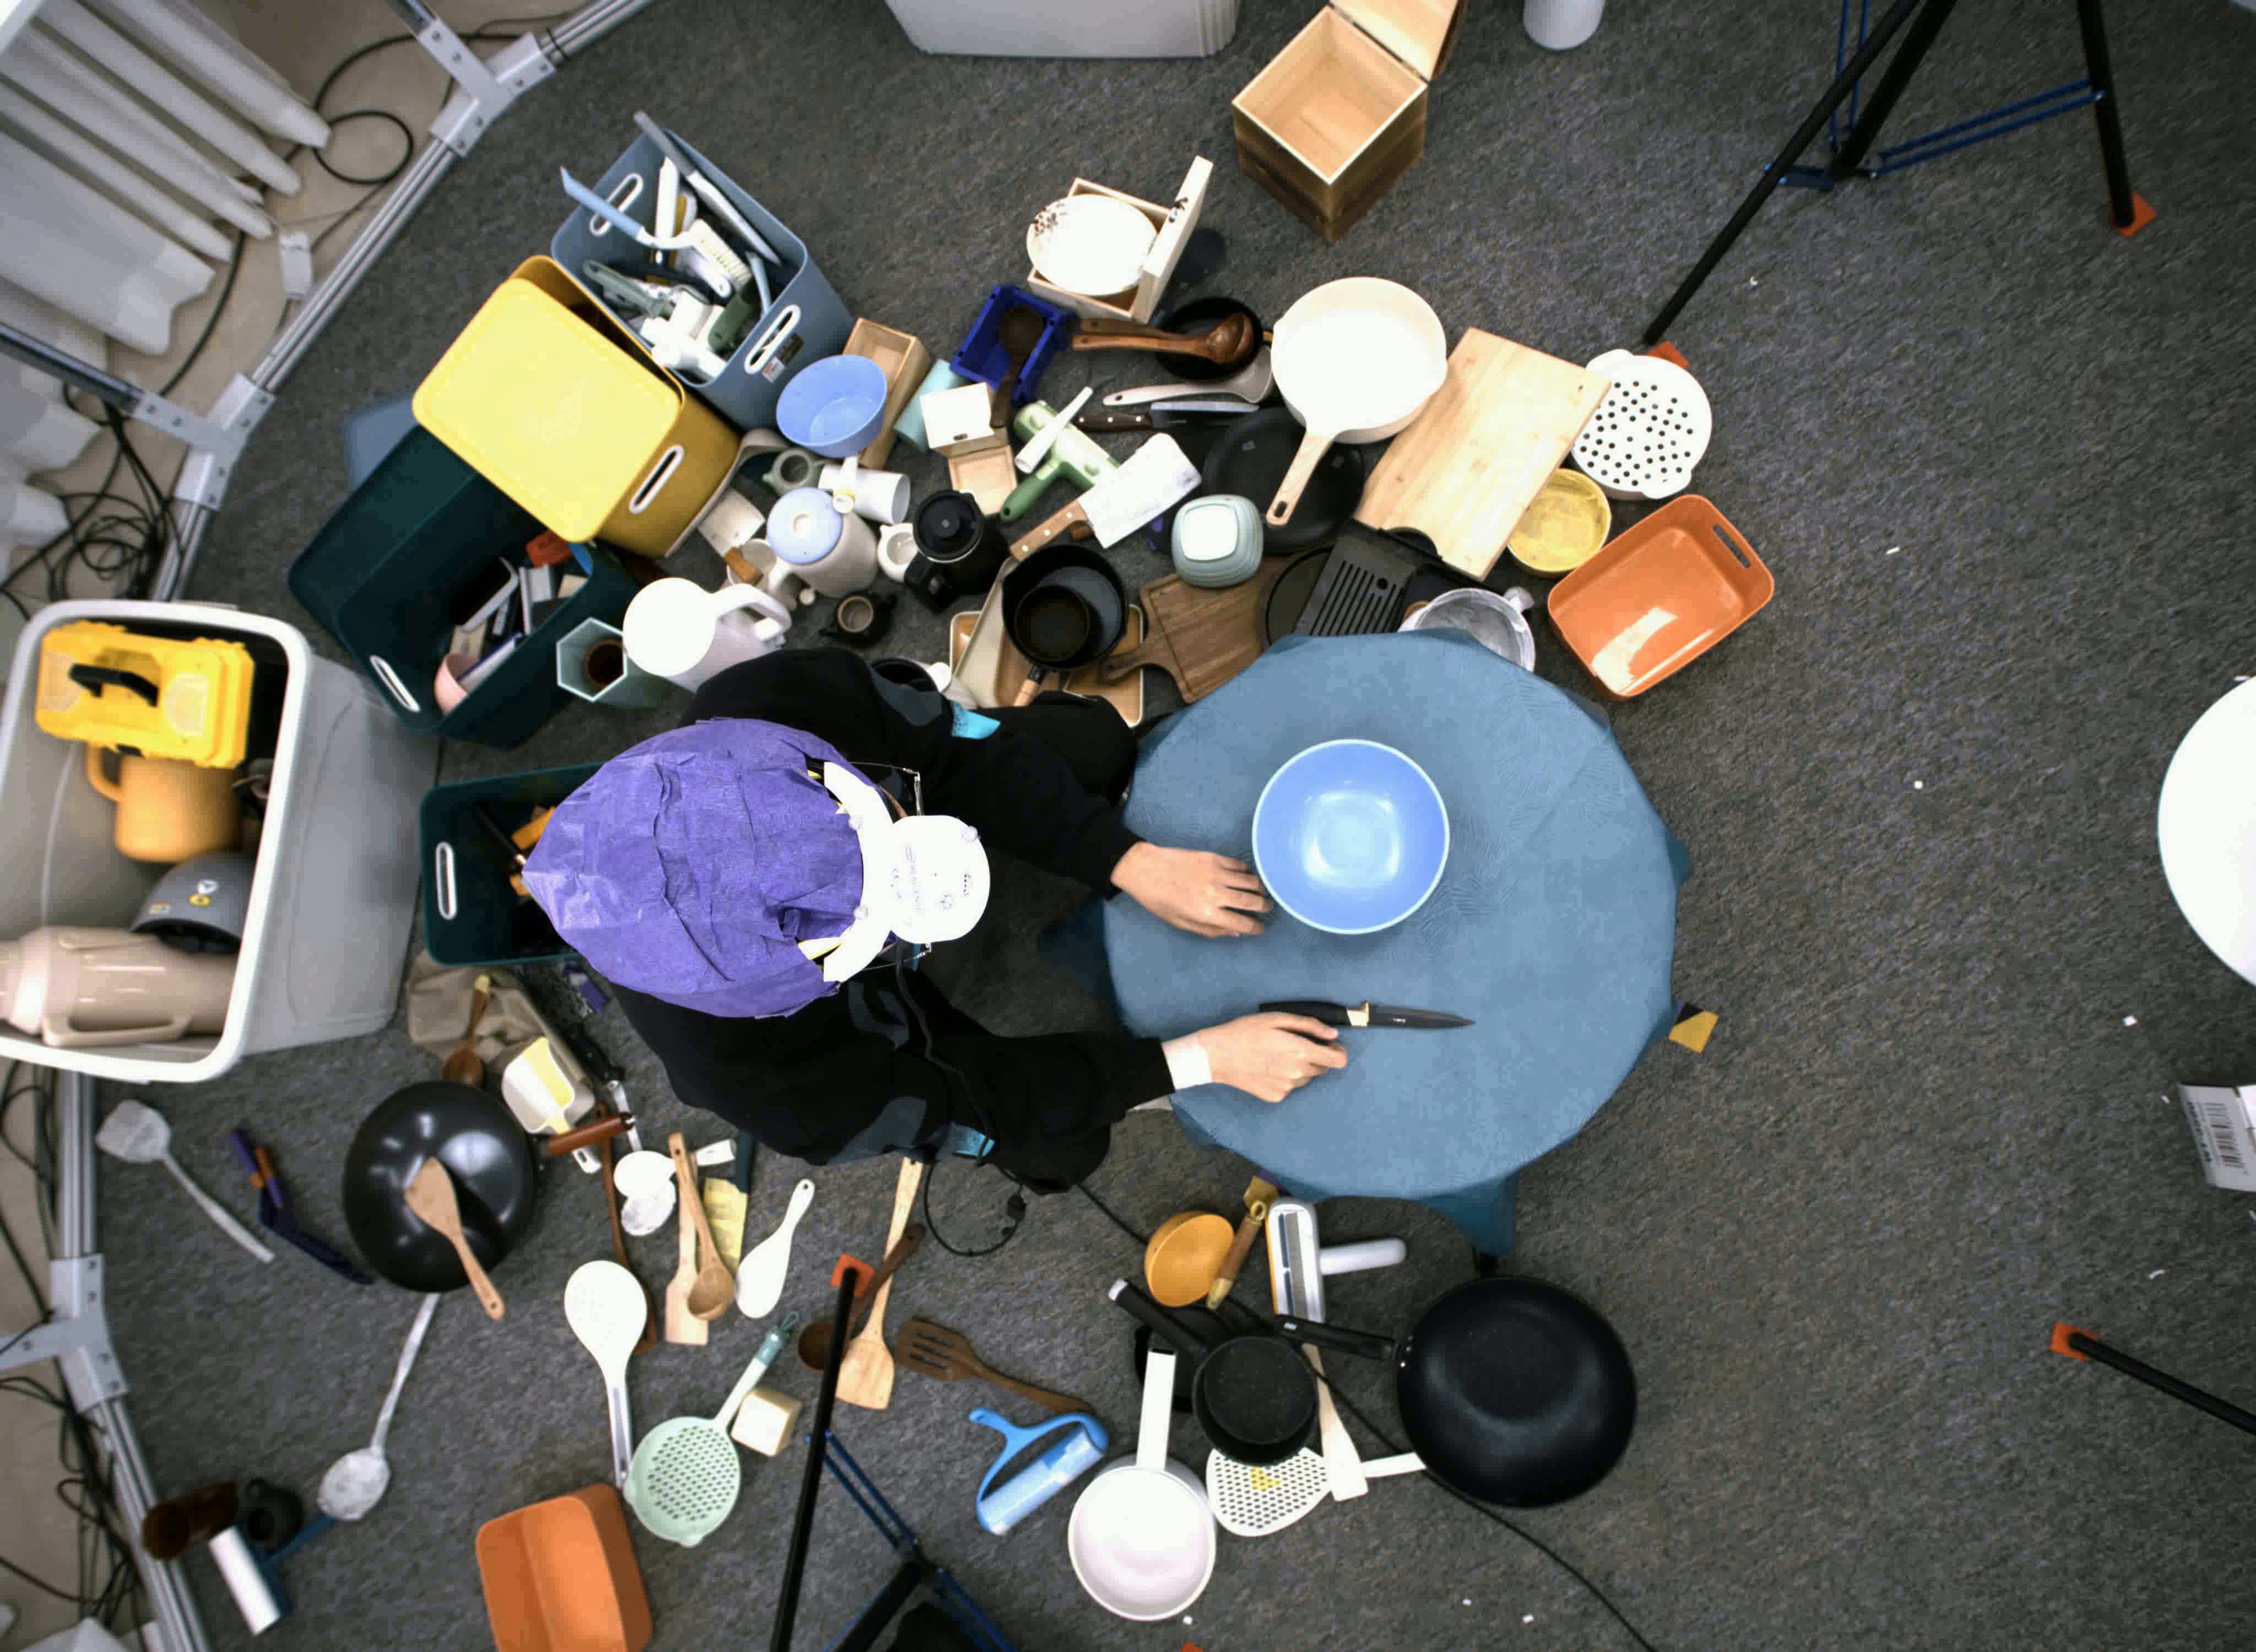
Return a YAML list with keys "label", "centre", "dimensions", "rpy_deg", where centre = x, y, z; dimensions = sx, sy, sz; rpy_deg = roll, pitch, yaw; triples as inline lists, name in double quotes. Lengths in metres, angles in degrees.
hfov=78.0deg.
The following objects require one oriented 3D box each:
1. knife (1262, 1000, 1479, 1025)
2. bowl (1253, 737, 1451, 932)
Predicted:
- label: "knife"
  centre: [0.253, 0.195, 1.451]
  dimensions: [0.226, 0.017, 0.026]
  rpy_deg: [0, 81, 9]
- label: "bowl"
  centre: [0.228, 0.012, 1.420]
  dimensions: [0.197, 0.095, 0.195]
  rpy_deg: [-1, 86, 7]
